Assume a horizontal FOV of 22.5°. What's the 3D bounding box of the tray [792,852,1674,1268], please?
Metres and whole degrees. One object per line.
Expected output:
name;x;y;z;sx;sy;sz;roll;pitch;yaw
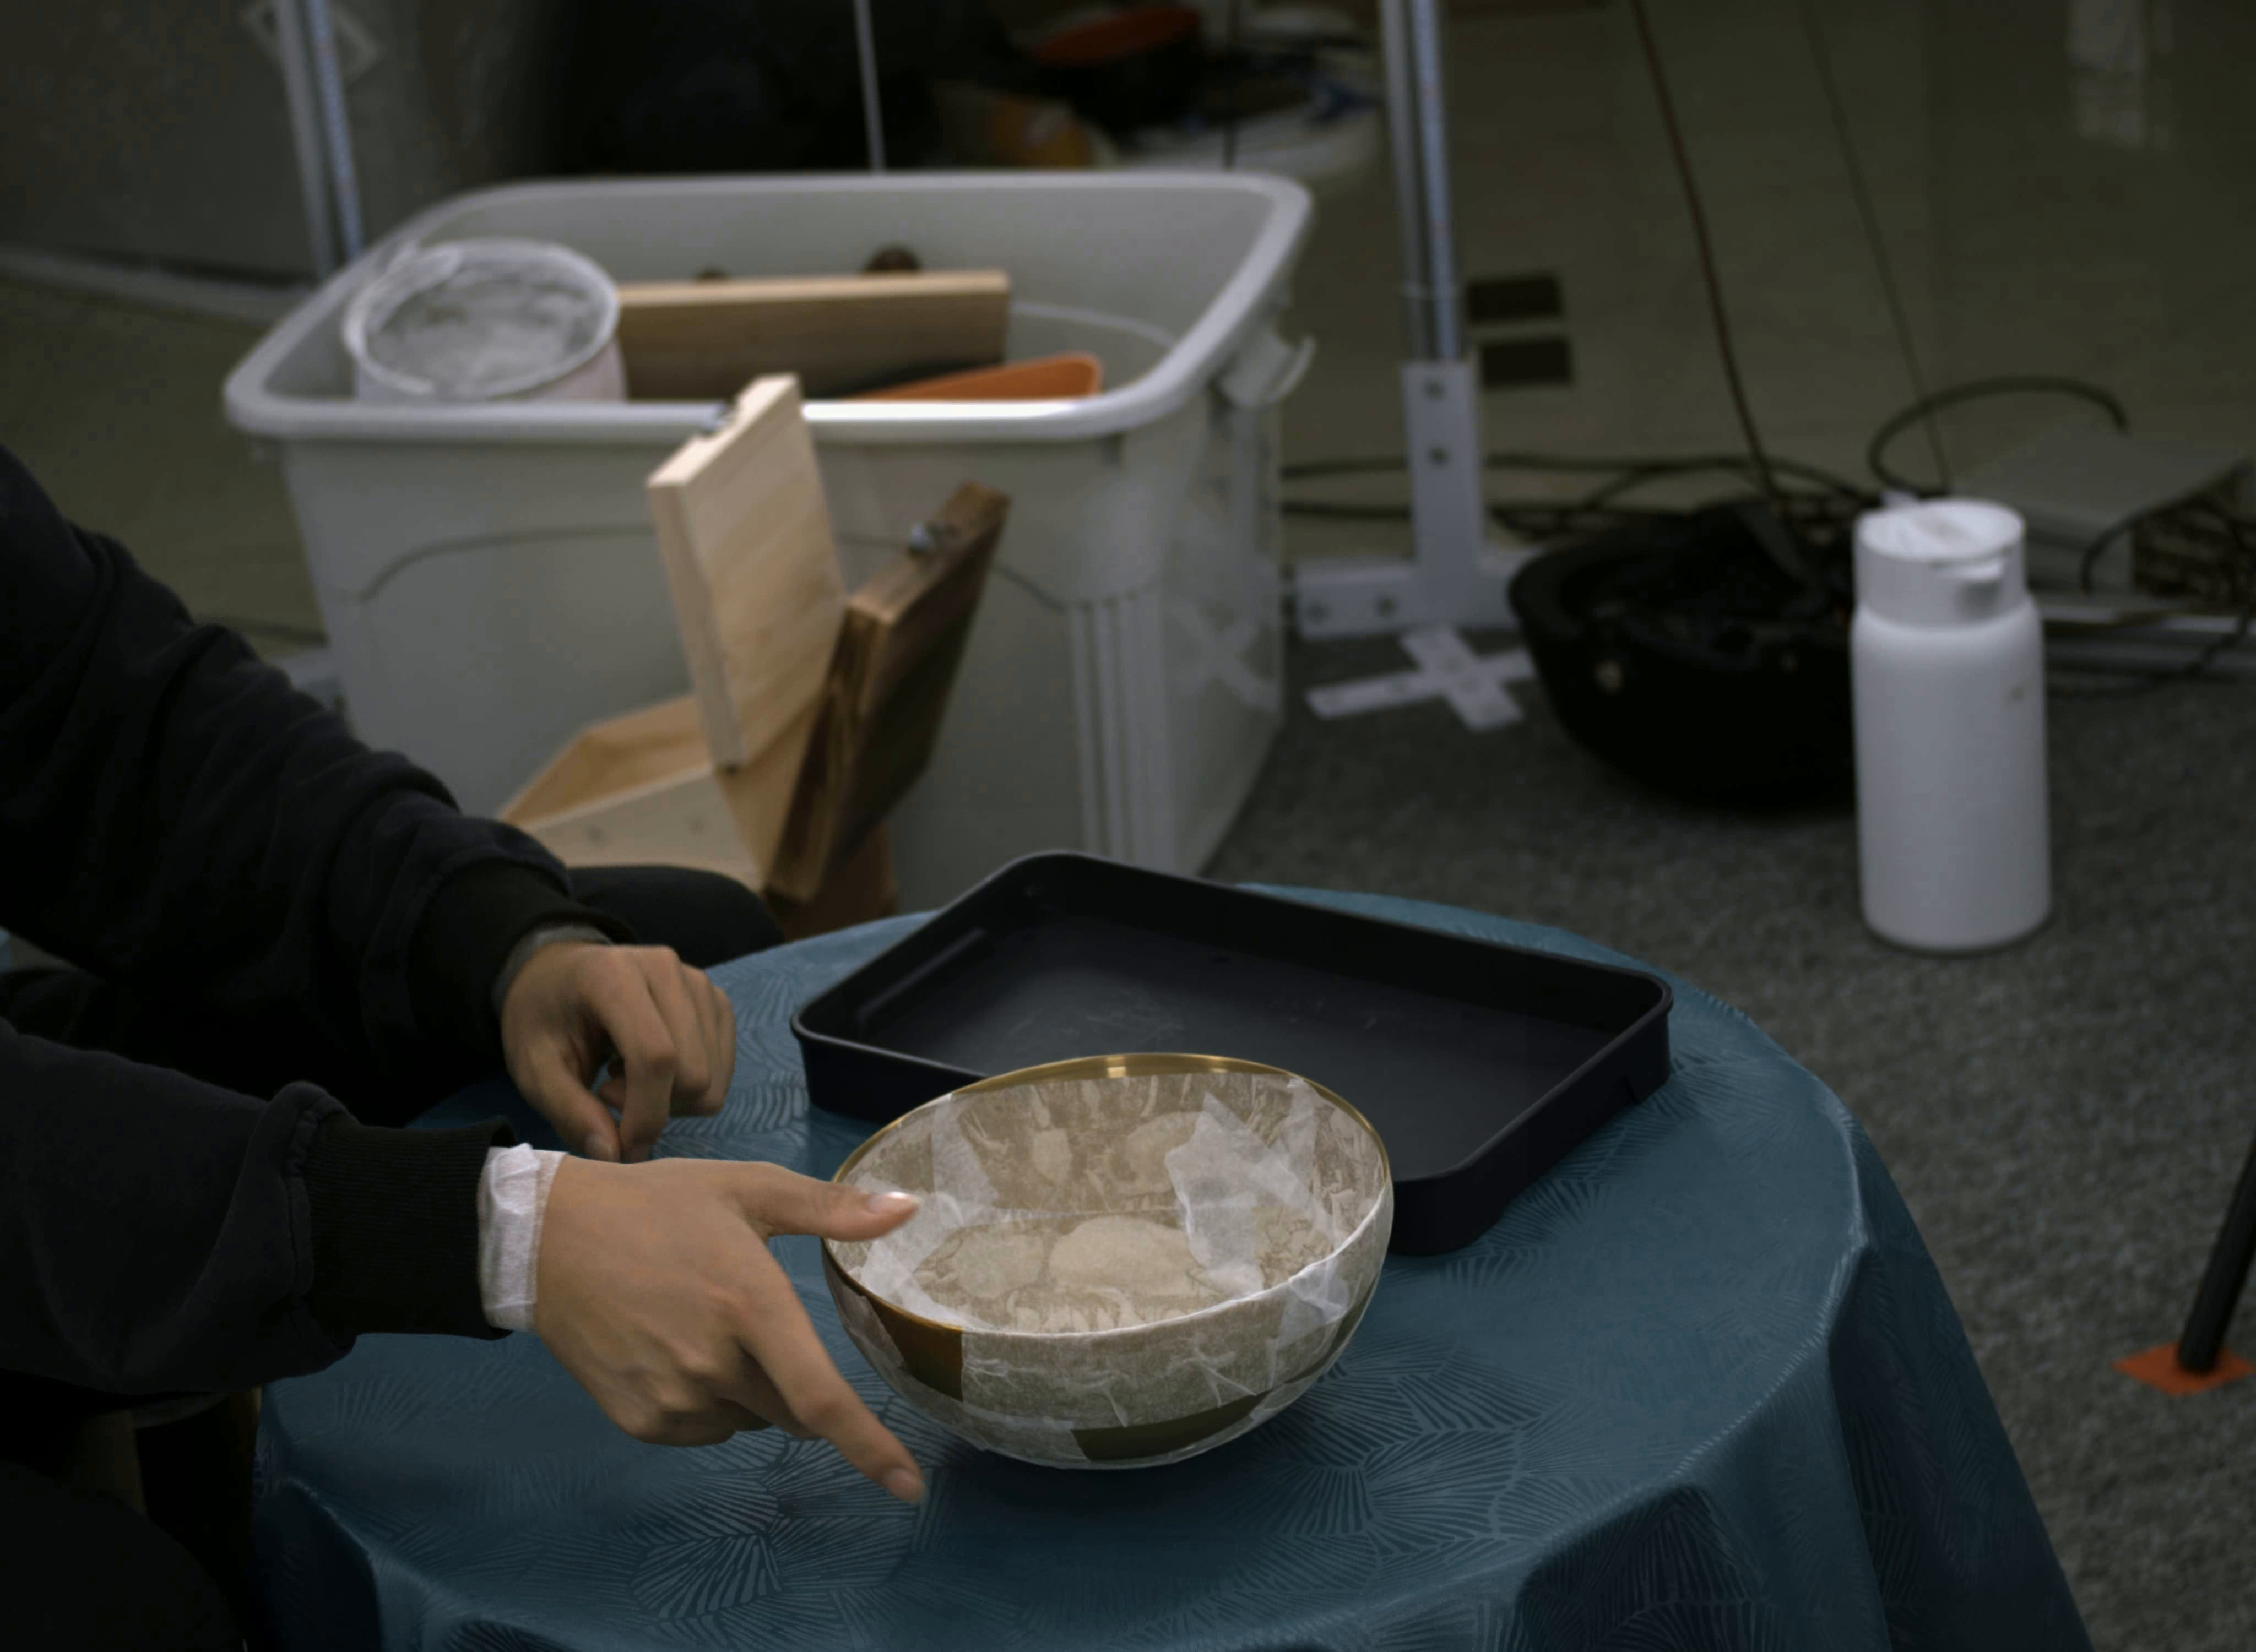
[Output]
tray;0.039;0.087;2.217;0.316;0.037;0.182;14;31;35

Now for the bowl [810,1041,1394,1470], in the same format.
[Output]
bowl;-0.004;0.162;1.991;0.214;0.096;0.211;-6;27;3
